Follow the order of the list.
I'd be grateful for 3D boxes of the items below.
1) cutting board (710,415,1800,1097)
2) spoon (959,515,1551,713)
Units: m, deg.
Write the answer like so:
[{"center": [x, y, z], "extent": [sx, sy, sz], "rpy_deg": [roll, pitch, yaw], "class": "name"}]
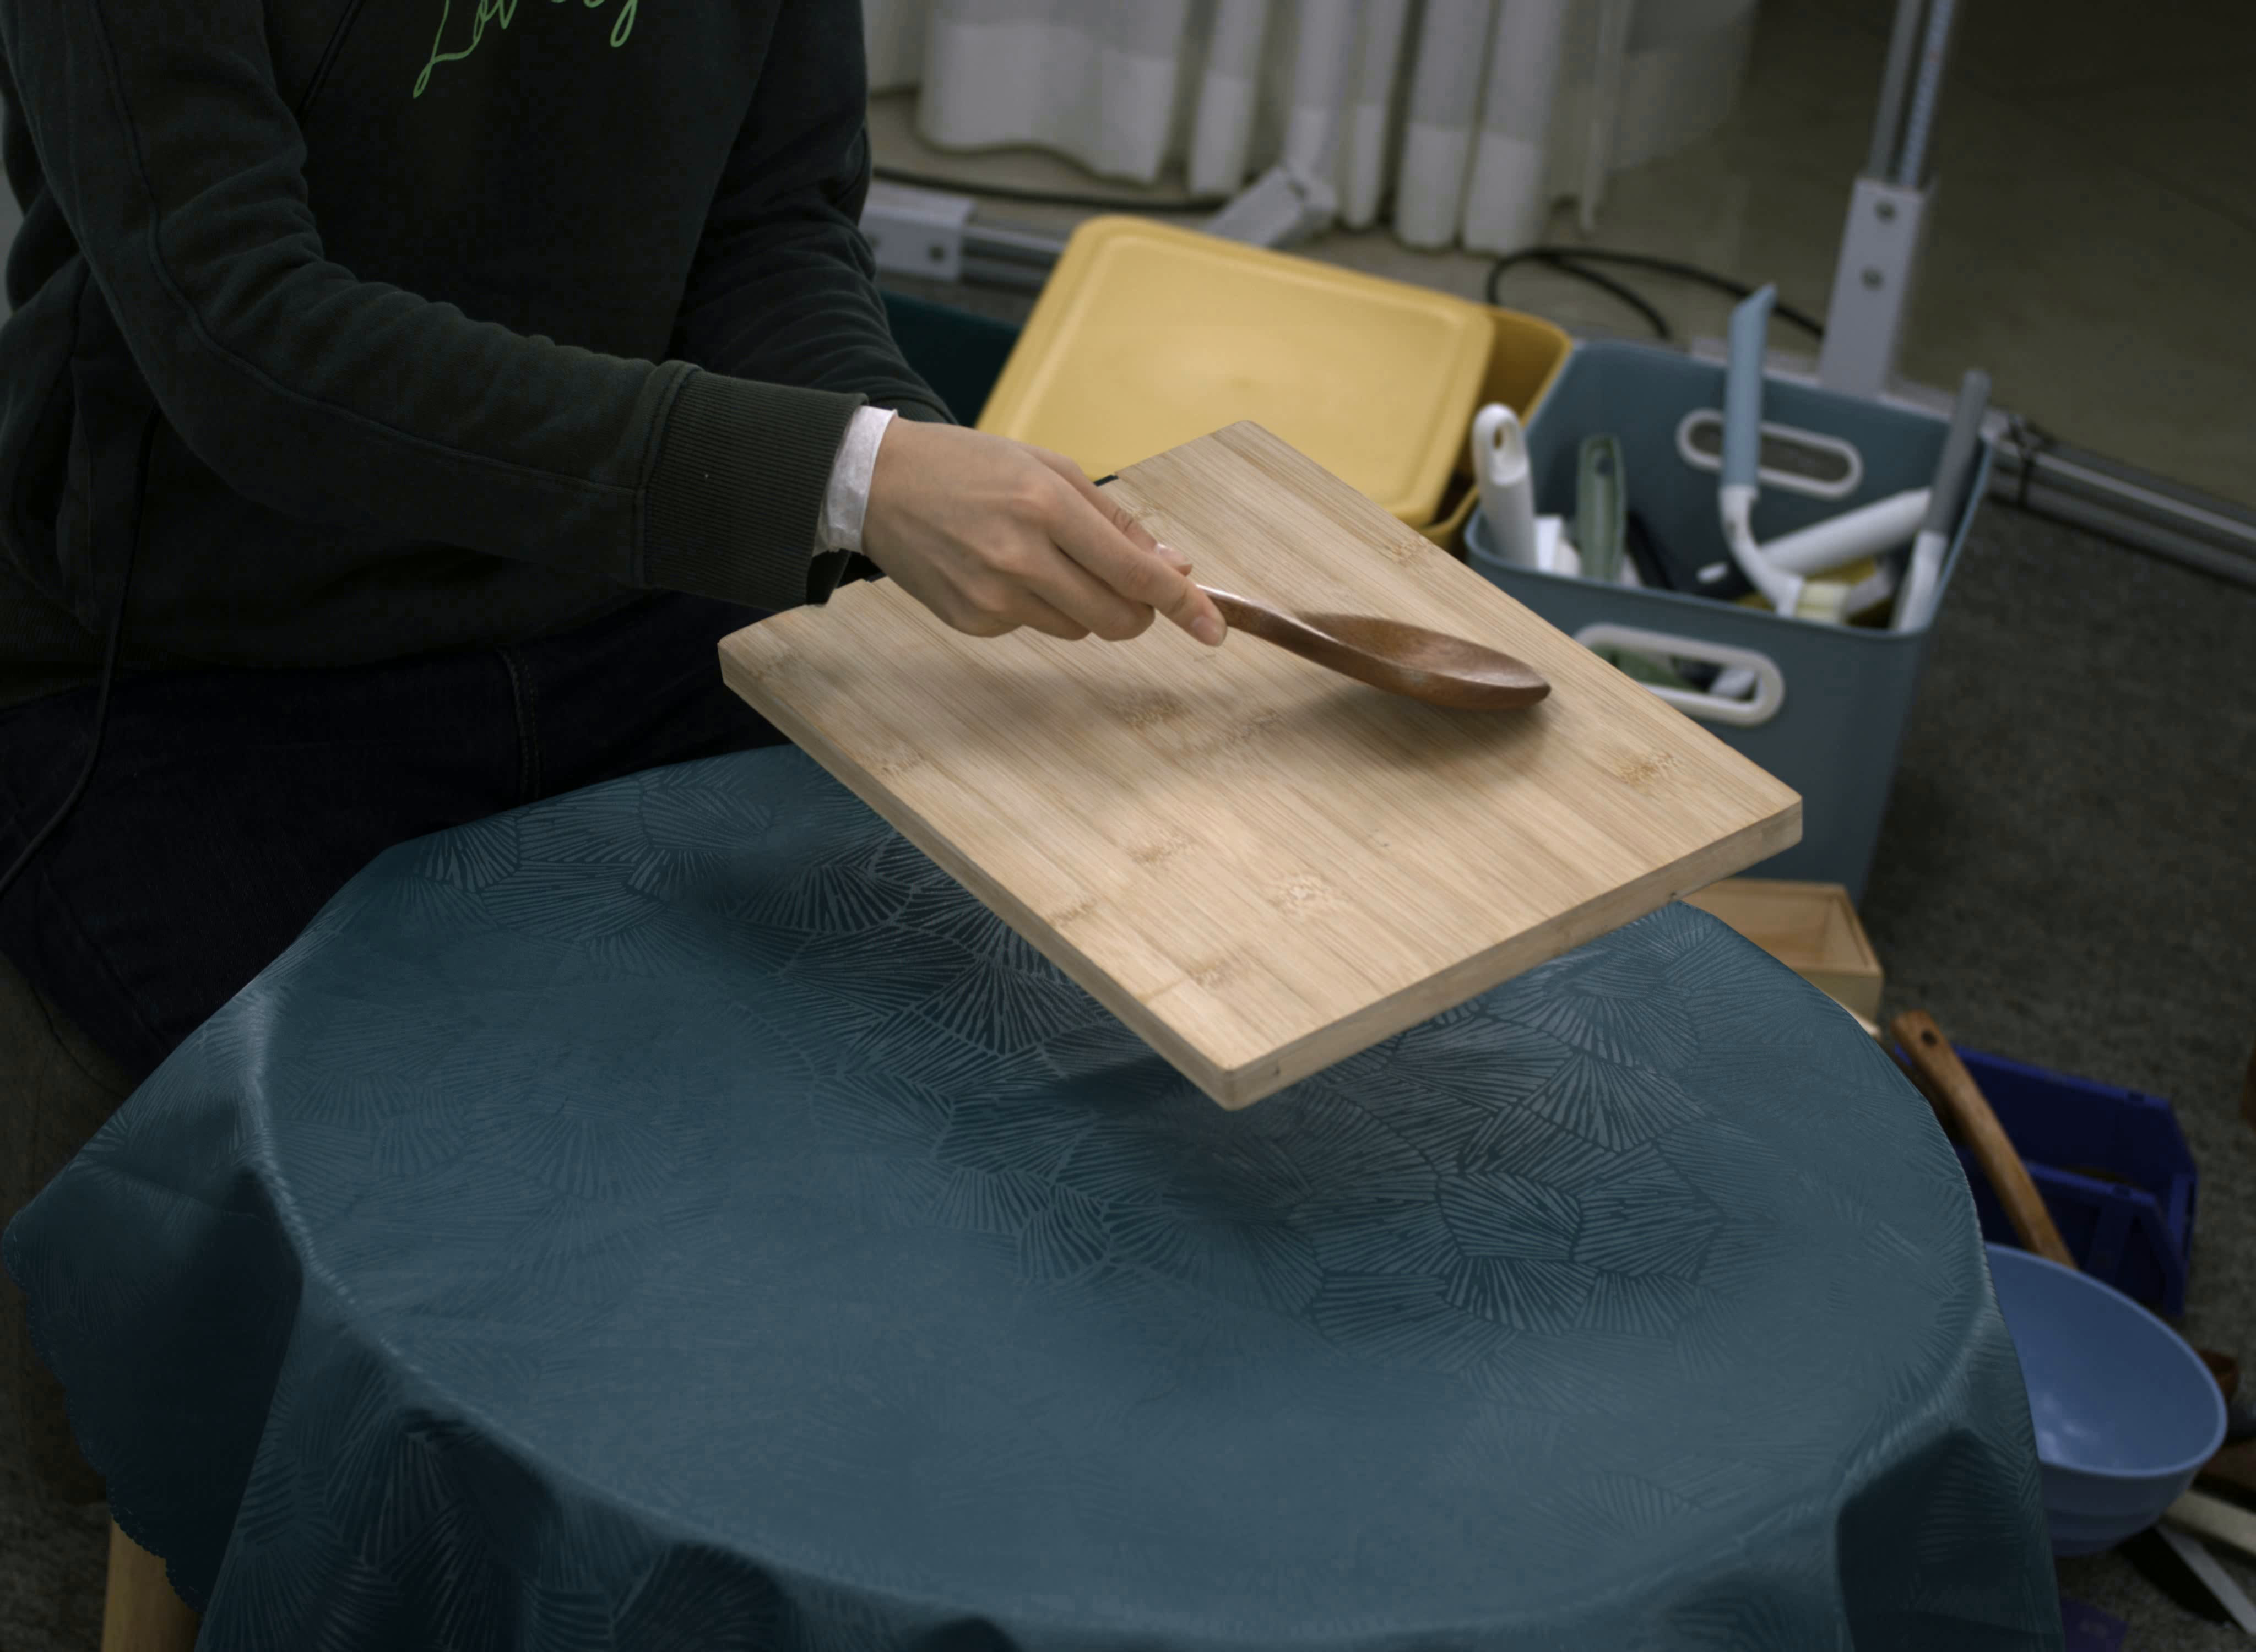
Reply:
[{"center": [0.037, -0.034, 1.894], "extent": [0.250, 0.023, 0.352], "rpy_deg": [-24, 38, -25], "class": "cutting board"}, {"center": [0.043, -0.073, 1.869], "extent": [0.216, 0.017, 0.075], "rpy_deg": [17, 16, 7], "class": "spoon"}]
